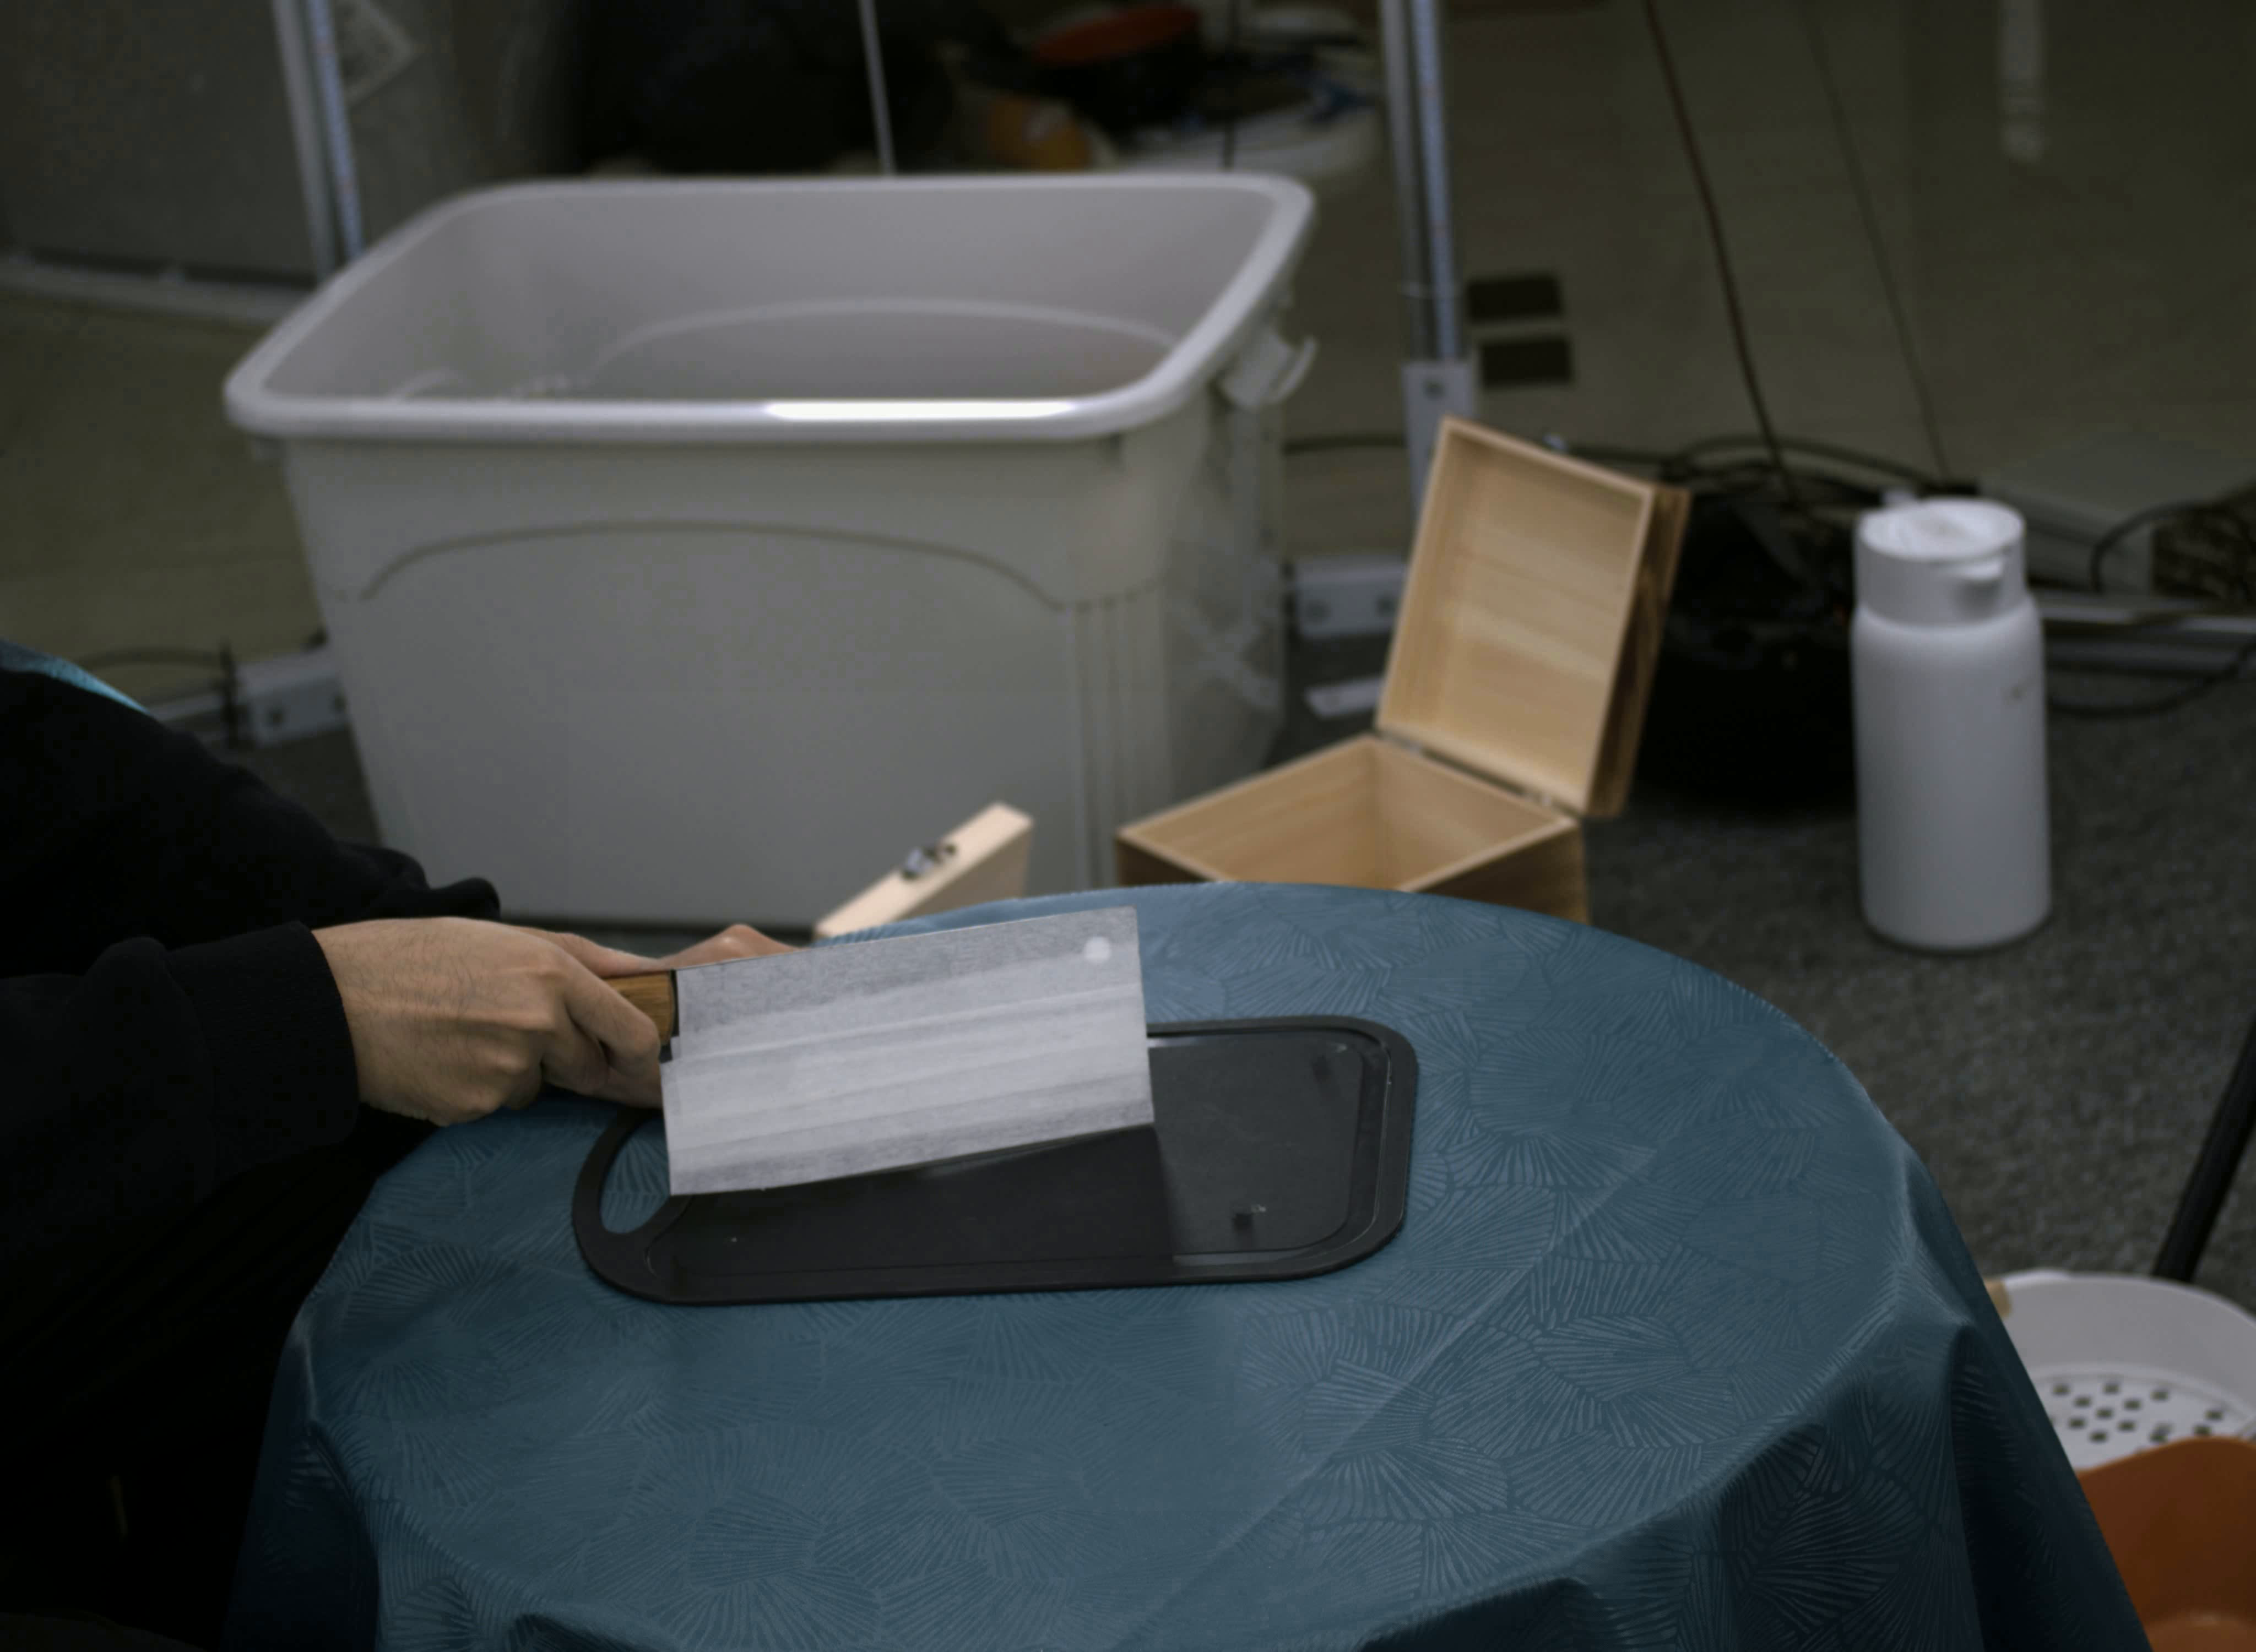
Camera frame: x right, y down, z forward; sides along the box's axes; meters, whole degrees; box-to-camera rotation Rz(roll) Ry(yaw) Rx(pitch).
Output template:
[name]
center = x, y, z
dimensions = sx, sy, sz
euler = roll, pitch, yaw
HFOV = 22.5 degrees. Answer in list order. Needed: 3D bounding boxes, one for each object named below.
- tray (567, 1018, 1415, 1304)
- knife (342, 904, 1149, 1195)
[tray]
center = -0.054, 0.126, 2.179
dimensions = 0.325, 0.010, 0.208
euler = -3, 25, 8
[knife]
center = -0.141, 0.092, 2.146
dimensions = 0.305, 0.094, 0.021
euler = -8, 17, -11
